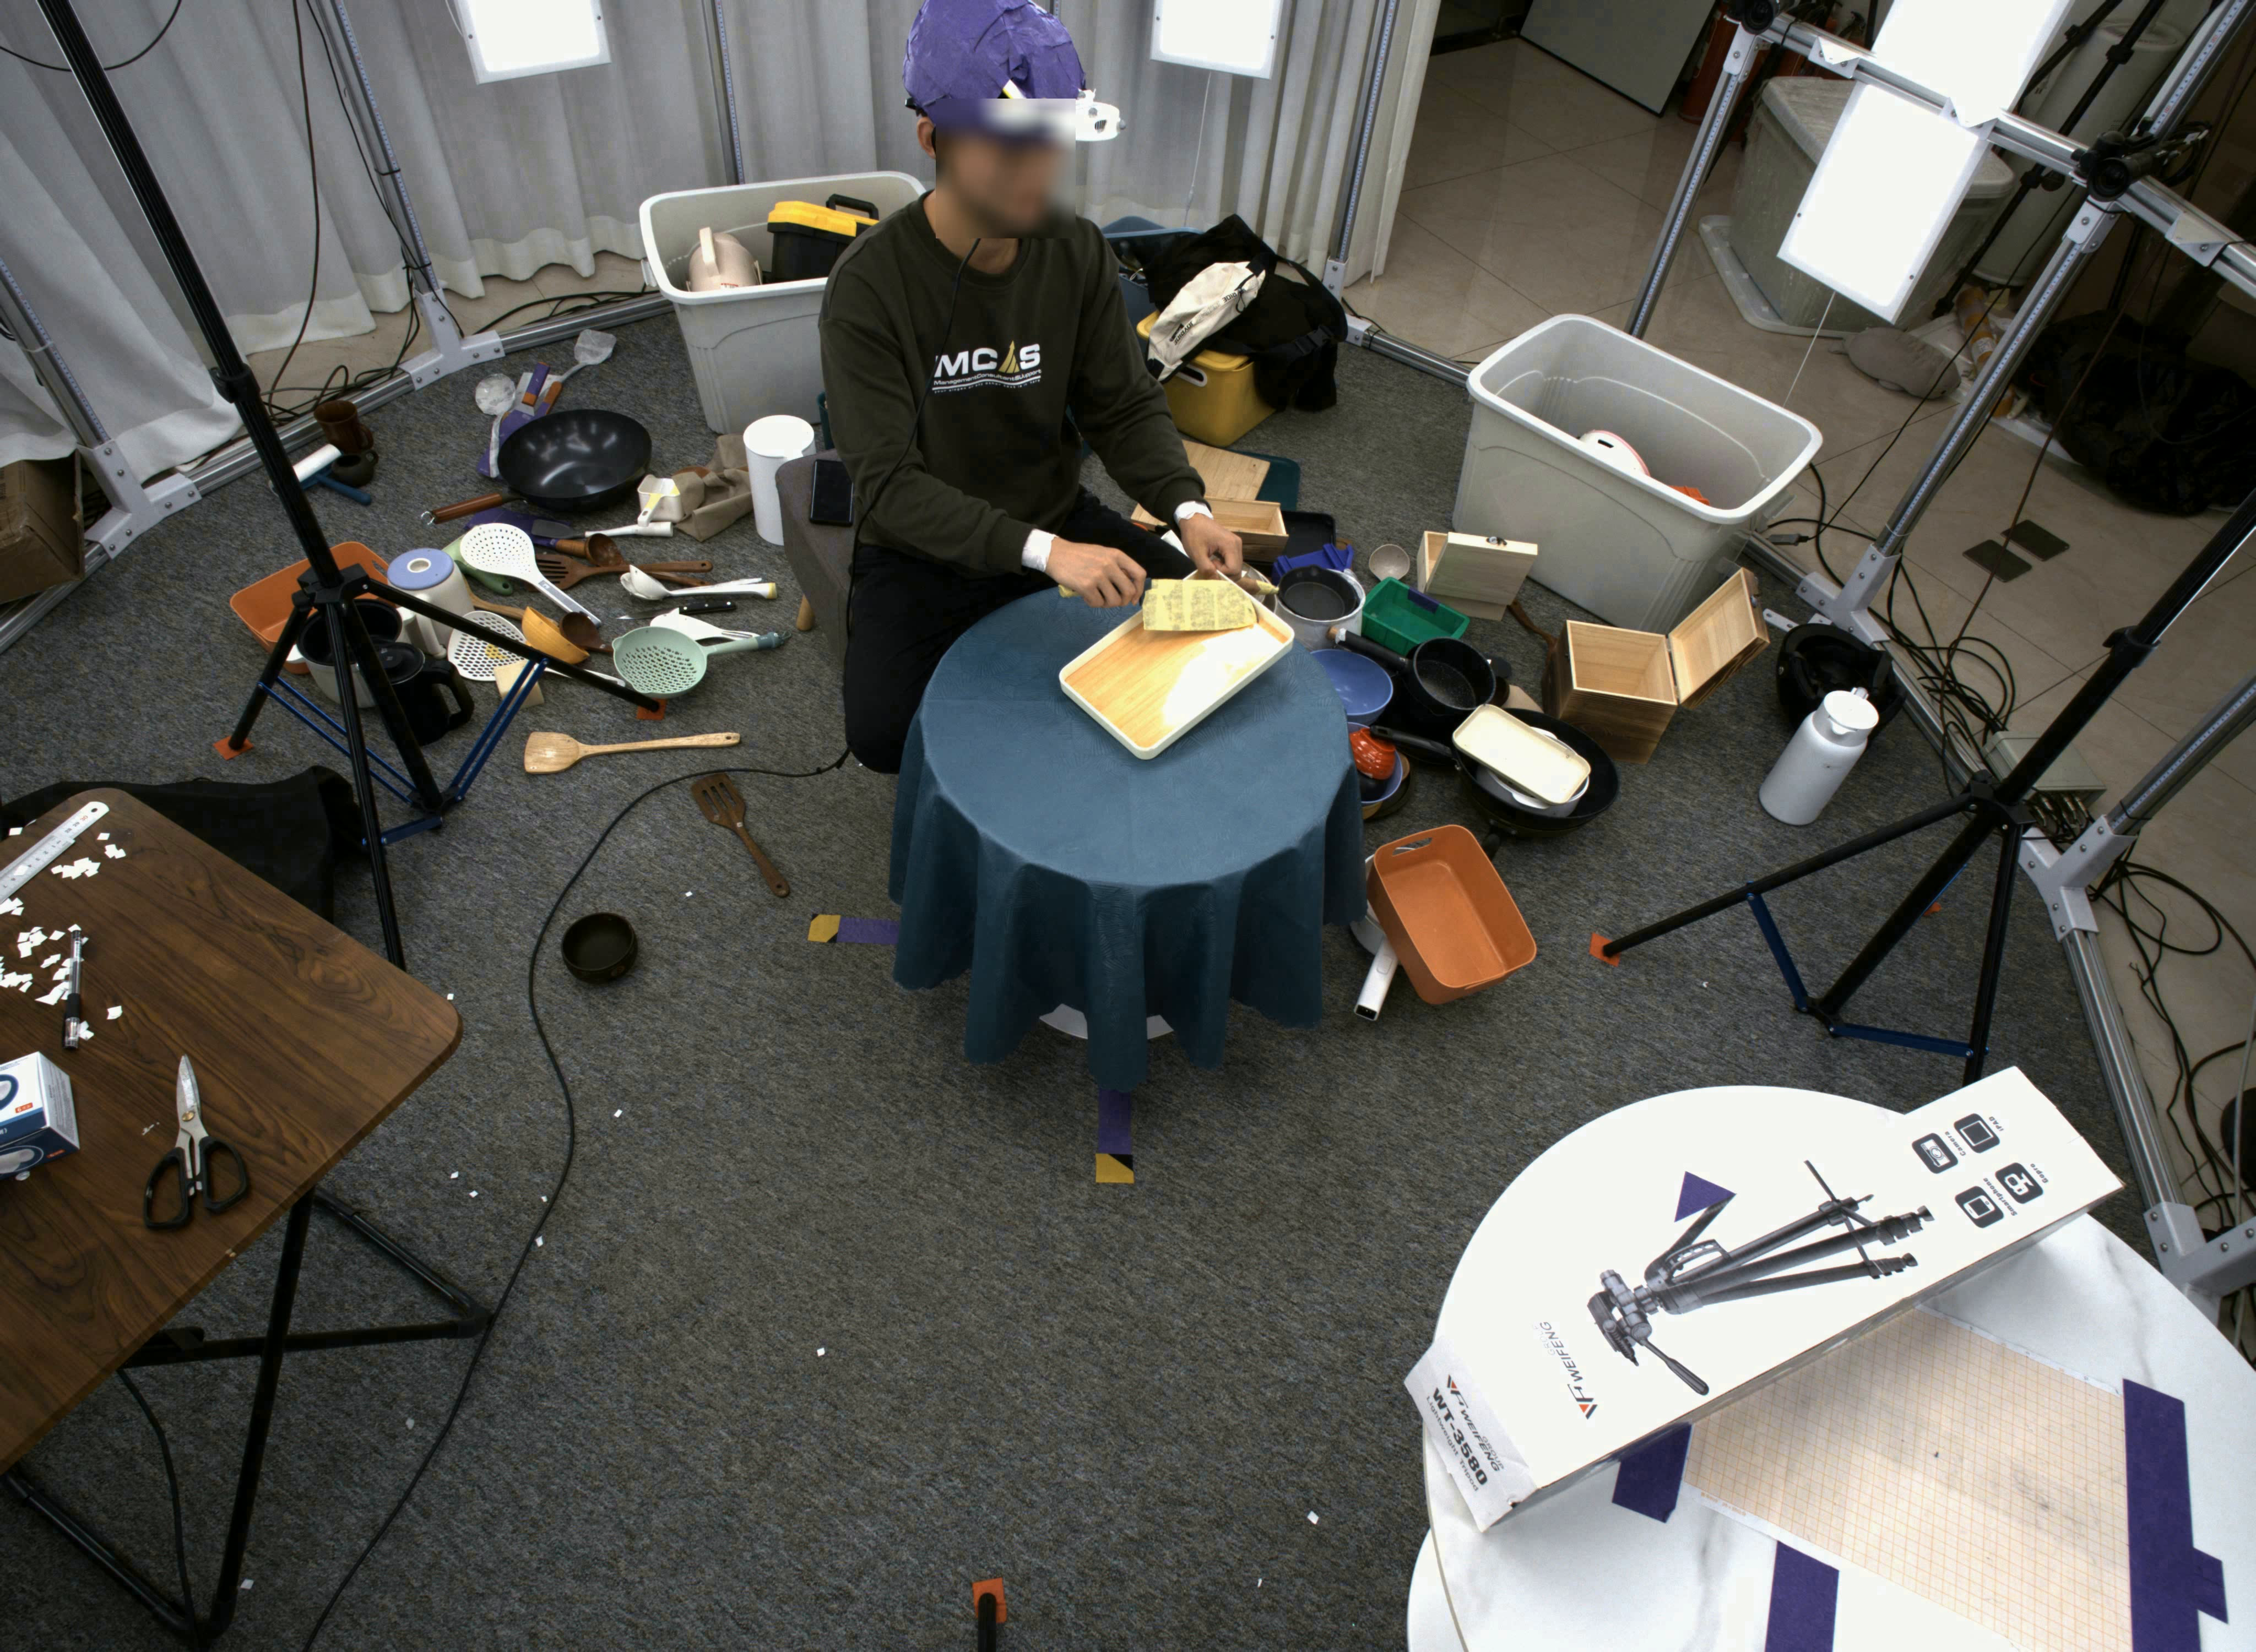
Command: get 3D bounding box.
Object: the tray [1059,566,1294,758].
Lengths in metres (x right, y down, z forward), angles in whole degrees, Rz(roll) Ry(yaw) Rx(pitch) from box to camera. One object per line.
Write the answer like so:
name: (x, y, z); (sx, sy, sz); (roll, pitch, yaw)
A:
tray: (0.070, -0.238, 1.823); (0.302, 0.027, 0.194); (-38, 62, -19)

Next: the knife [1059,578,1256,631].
knife: (0.045, -0.317, 1.831); (0.289, 0.027, 0.081); (1, 85, -11)
